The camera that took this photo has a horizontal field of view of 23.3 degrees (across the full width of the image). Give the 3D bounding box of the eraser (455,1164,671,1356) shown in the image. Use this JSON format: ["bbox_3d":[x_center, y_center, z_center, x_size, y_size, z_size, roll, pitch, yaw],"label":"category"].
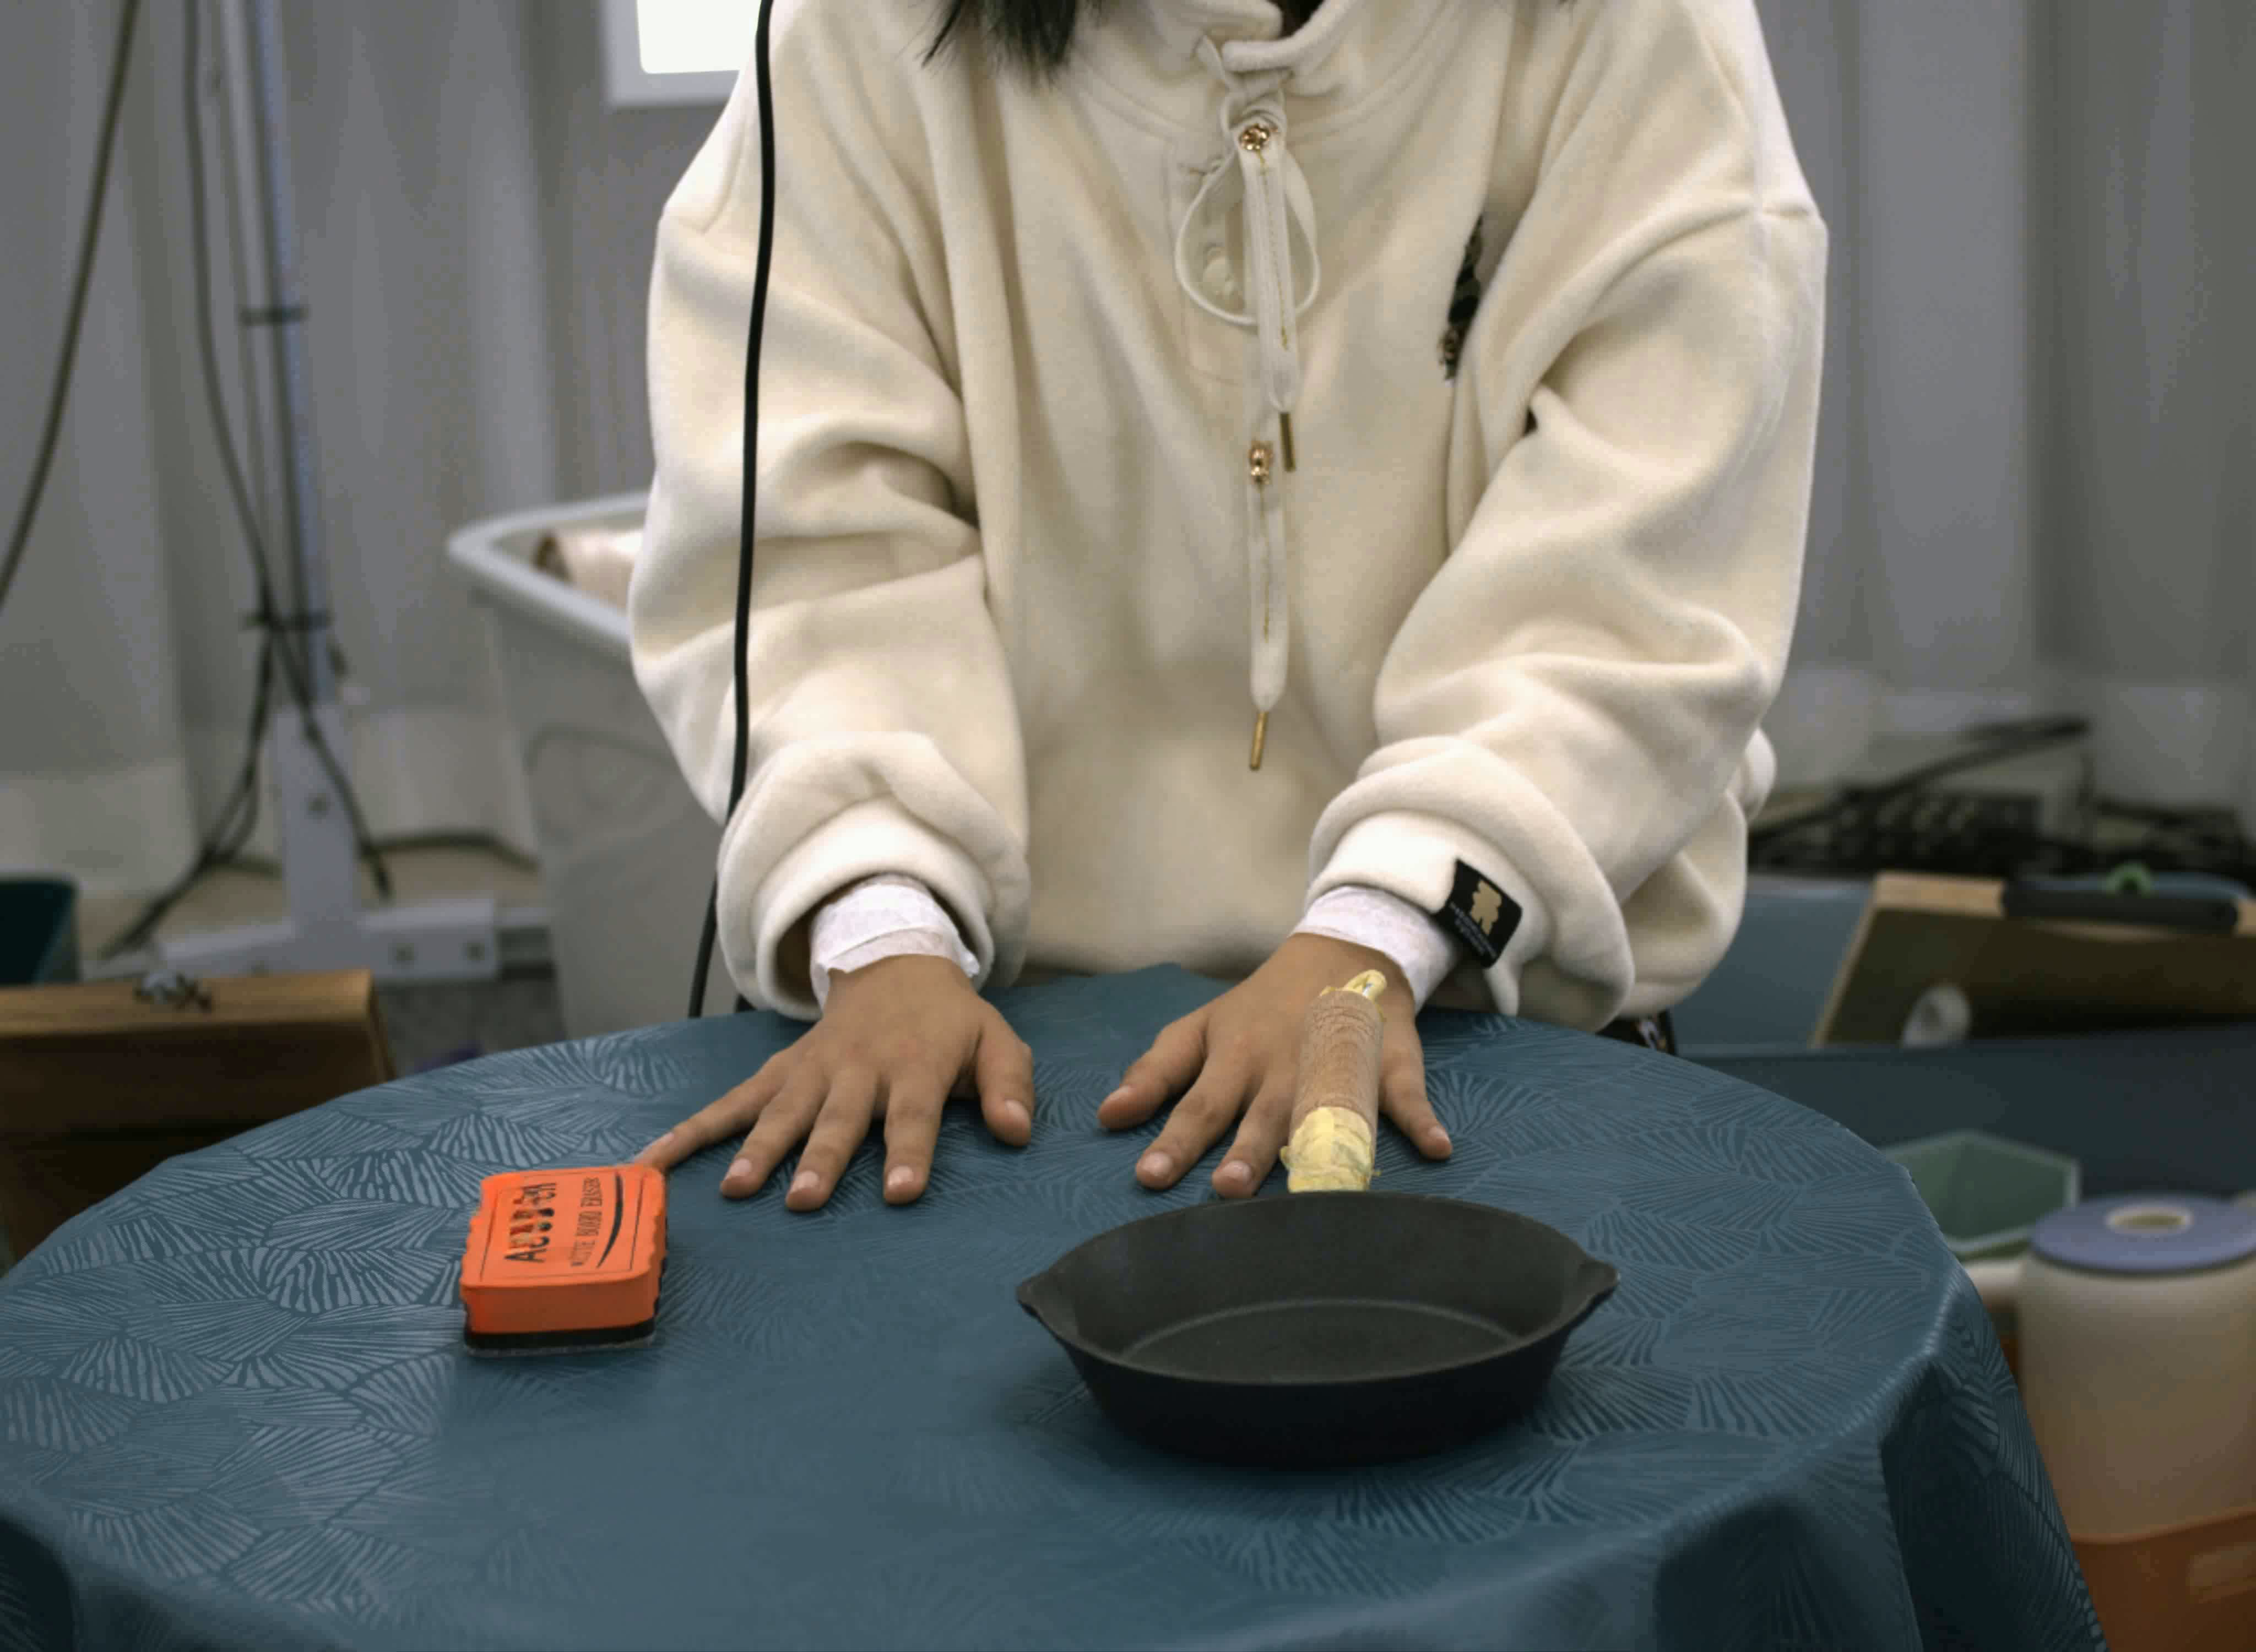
[{"bbox_3d":[-0.169,0.130,1.644,0.059,0.023,0.109,-3,15,0],"label":"eraser"}]

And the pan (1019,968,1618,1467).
[{"bbox_3d":[0.061,0.112,1.614,0.168,0.049,0.326,-2,16,6],"label":"pan"}]
